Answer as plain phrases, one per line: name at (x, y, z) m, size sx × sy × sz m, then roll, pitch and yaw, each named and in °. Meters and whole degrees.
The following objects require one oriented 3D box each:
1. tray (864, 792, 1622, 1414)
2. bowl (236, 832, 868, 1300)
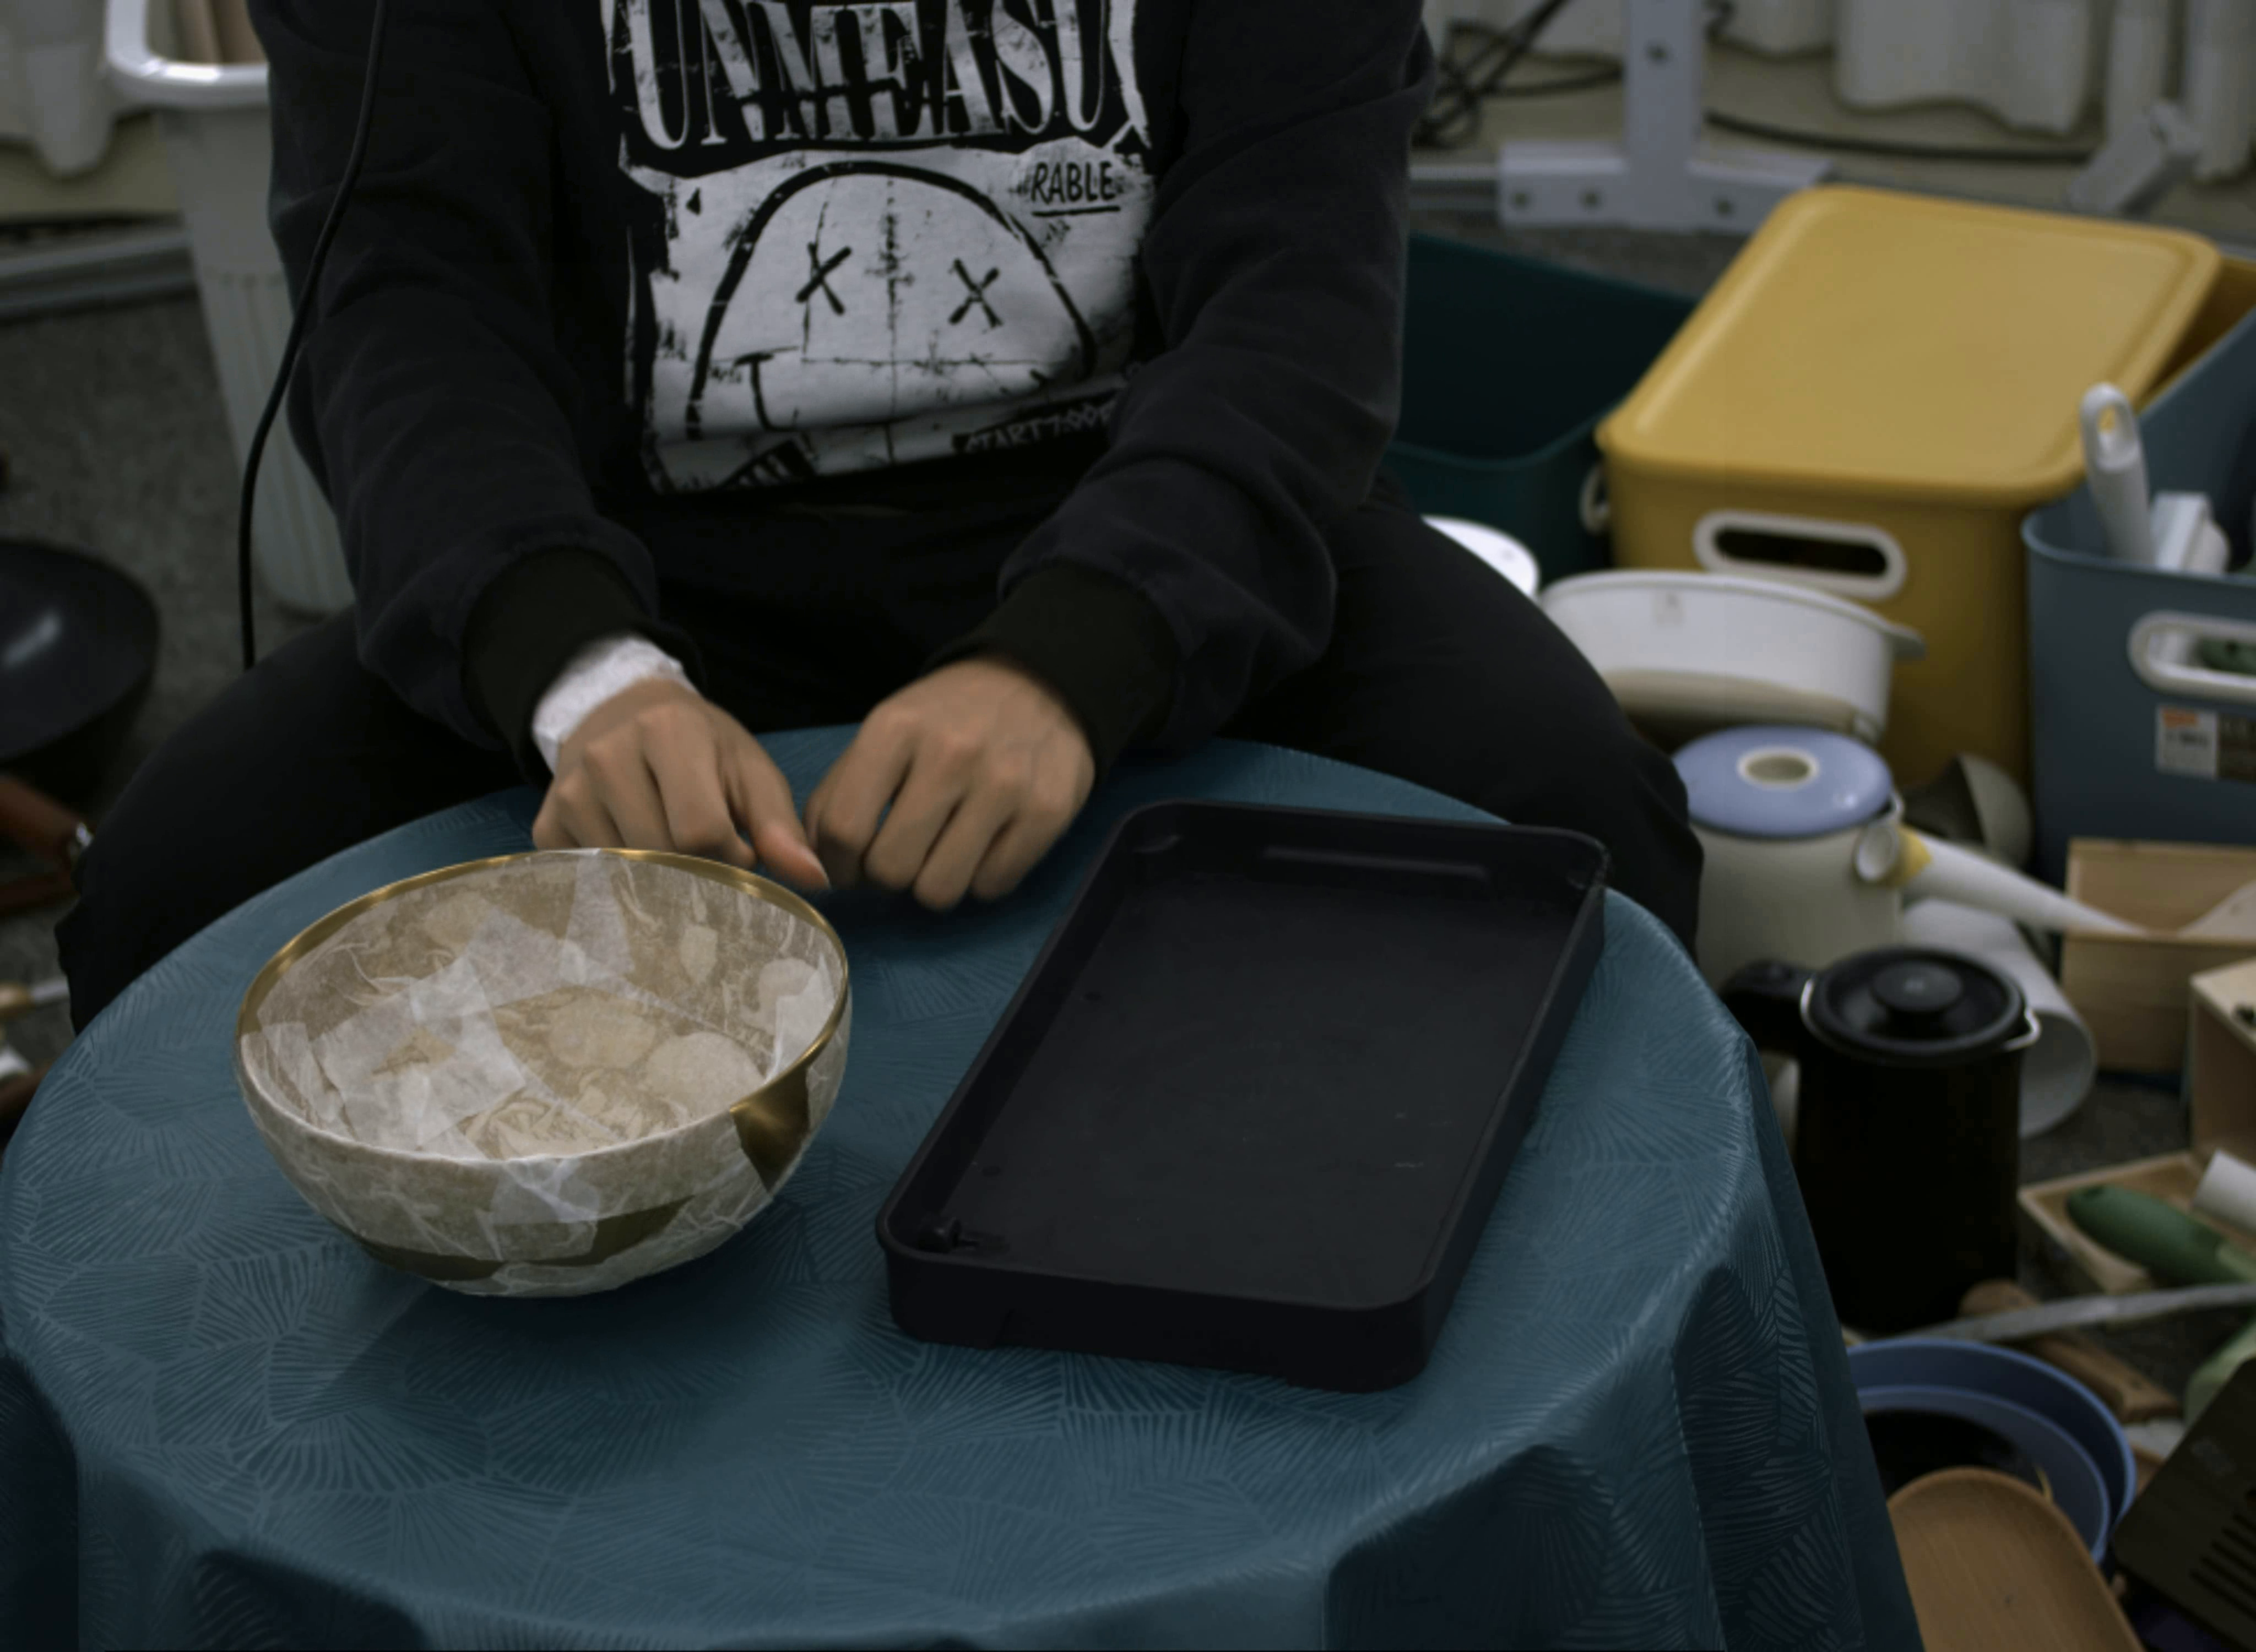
tray at (0.046, 0.086, 1.893) m, size 0.183 × 0.036 × 0.323 m, roll 7°, pitch 30°, yaw 16°
bowl at (-0.183, 0.092, 1.837) m, size 0.213 × 0.093 × 0.218 m, roll -3°, pitch 28°, yaw 2°
